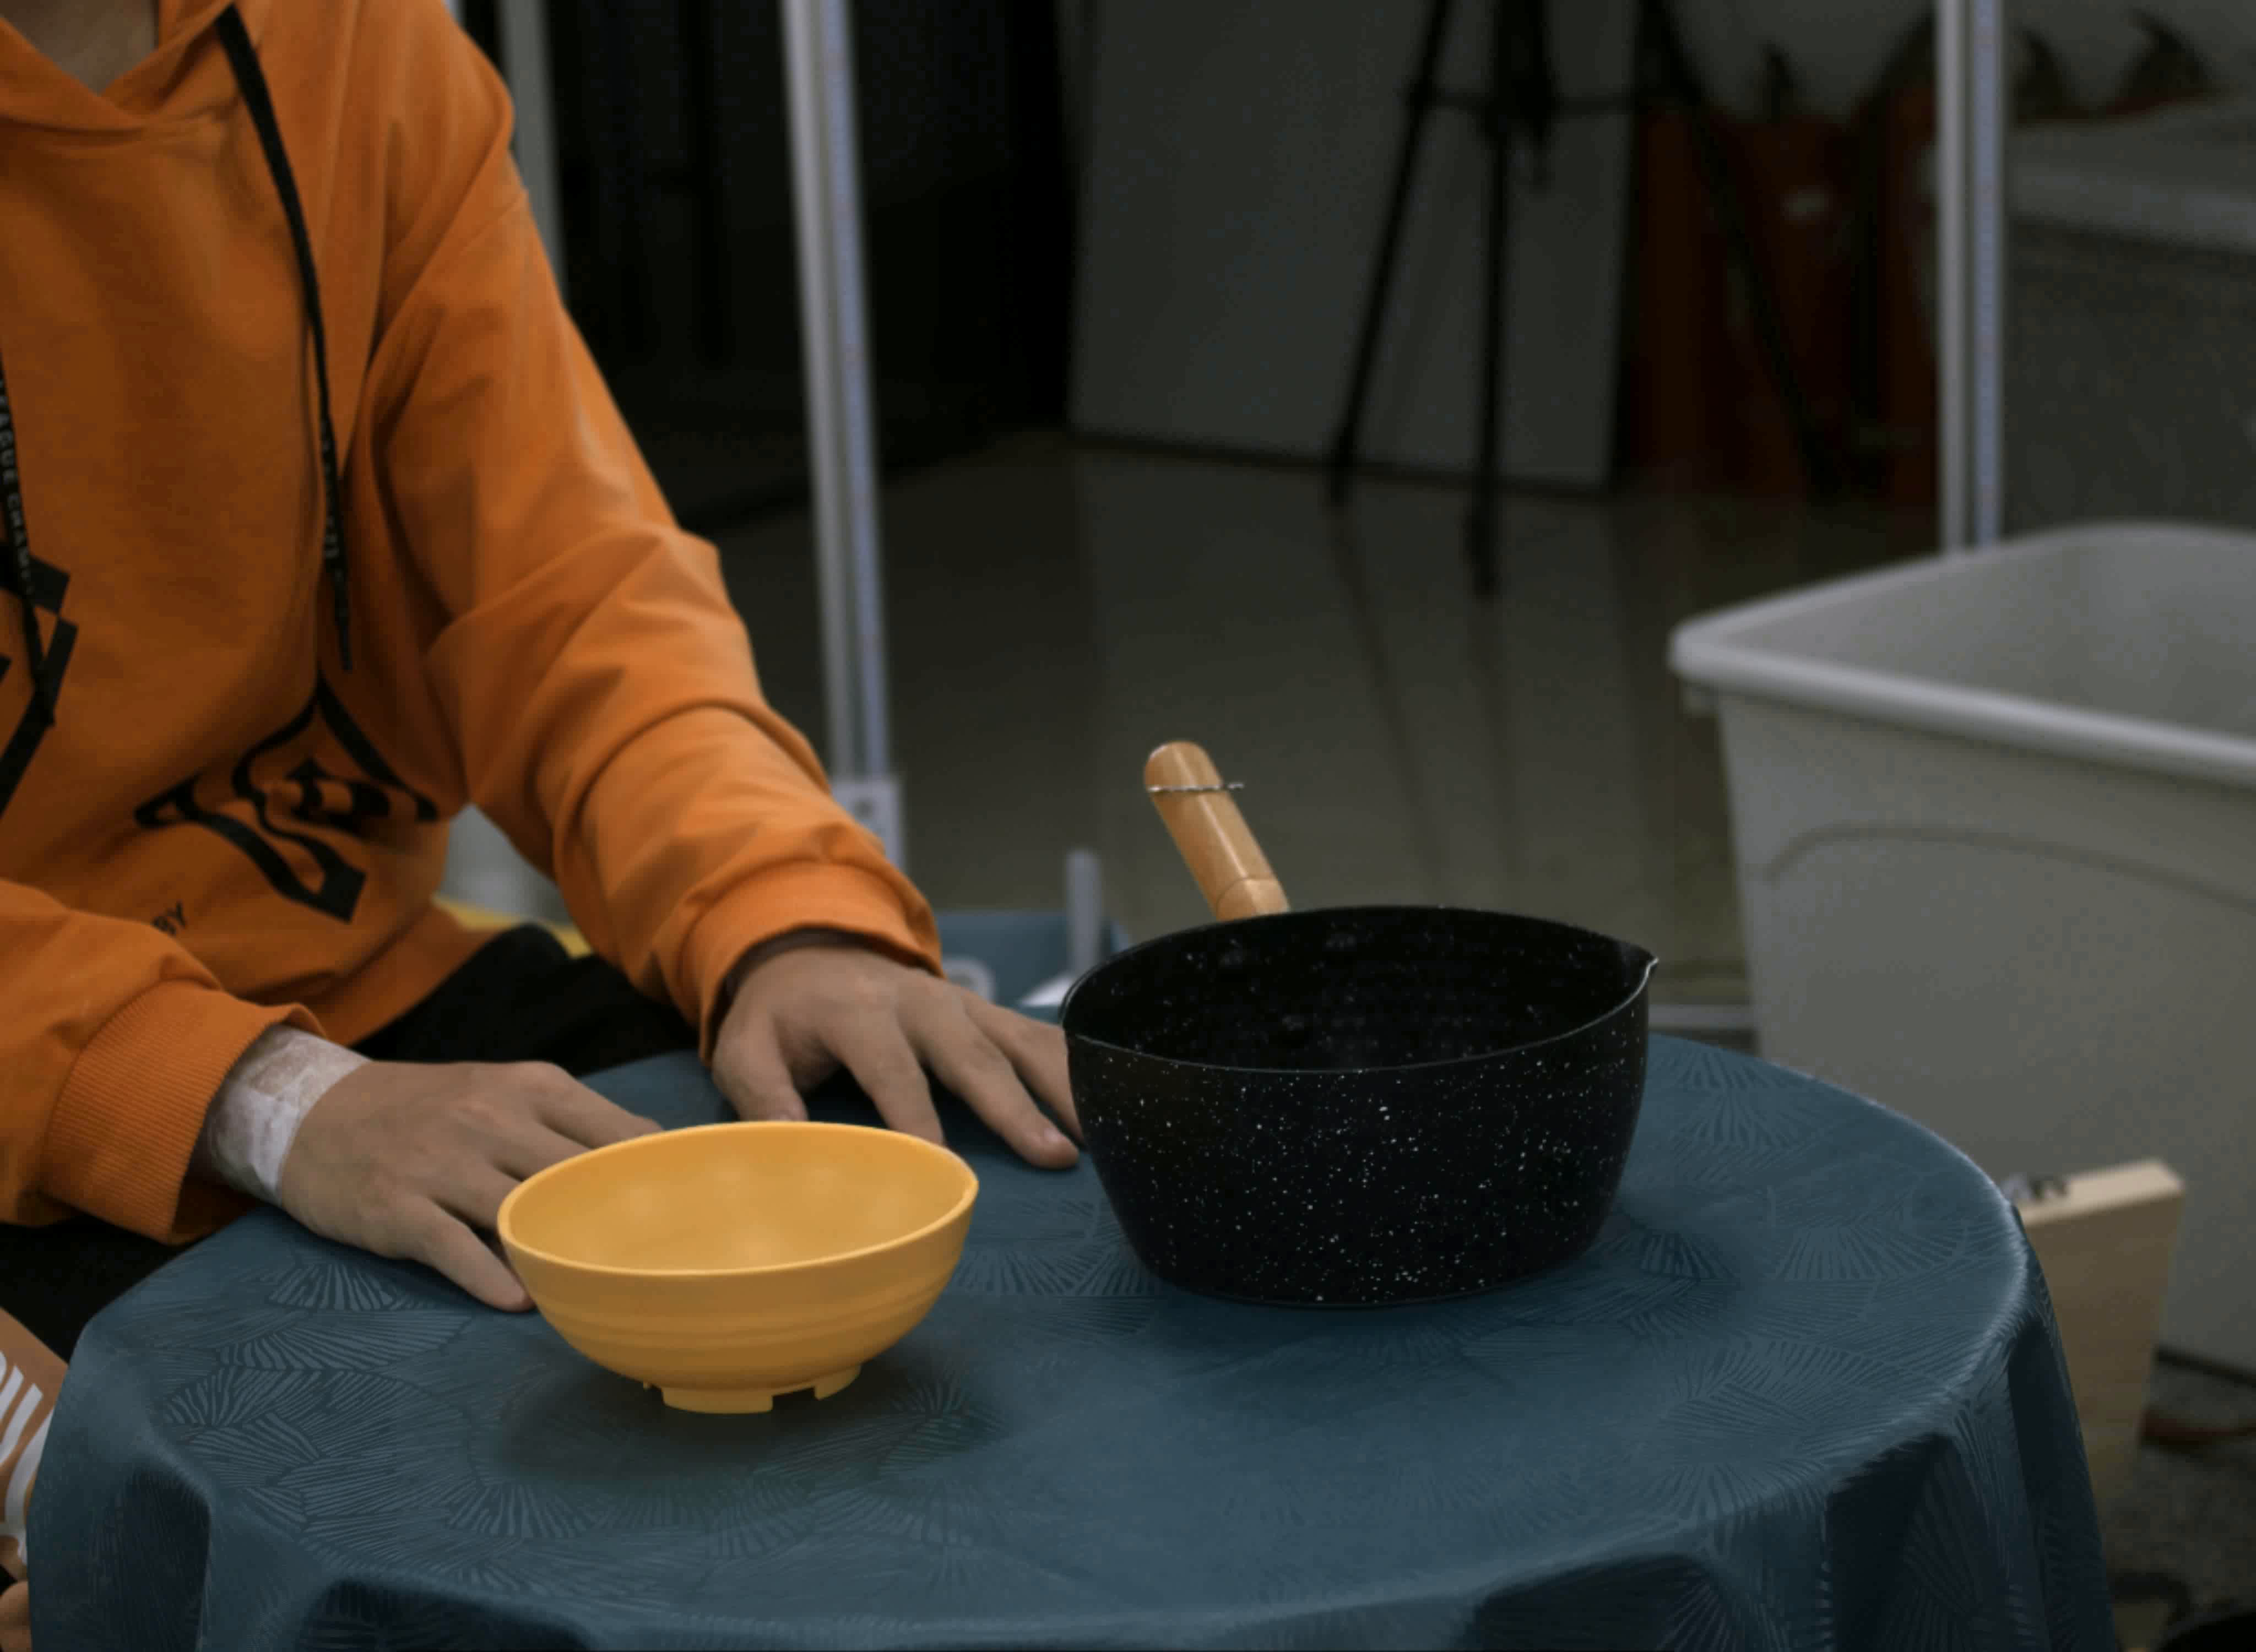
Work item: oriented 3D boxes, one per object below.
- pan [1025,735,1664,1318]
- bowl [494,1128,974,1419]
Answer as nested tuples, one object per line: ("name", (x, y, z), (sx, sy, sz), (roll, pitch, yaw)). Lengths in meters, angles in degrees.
("pan", (0.055, 0.060, 1.774), (0.204, 0.109, 0.345), (-8, 16, -11))
("bowl", (-0.116, 0.138, 1.614), (0.143, 0.061, 0.145), (-3, 13, 0))
